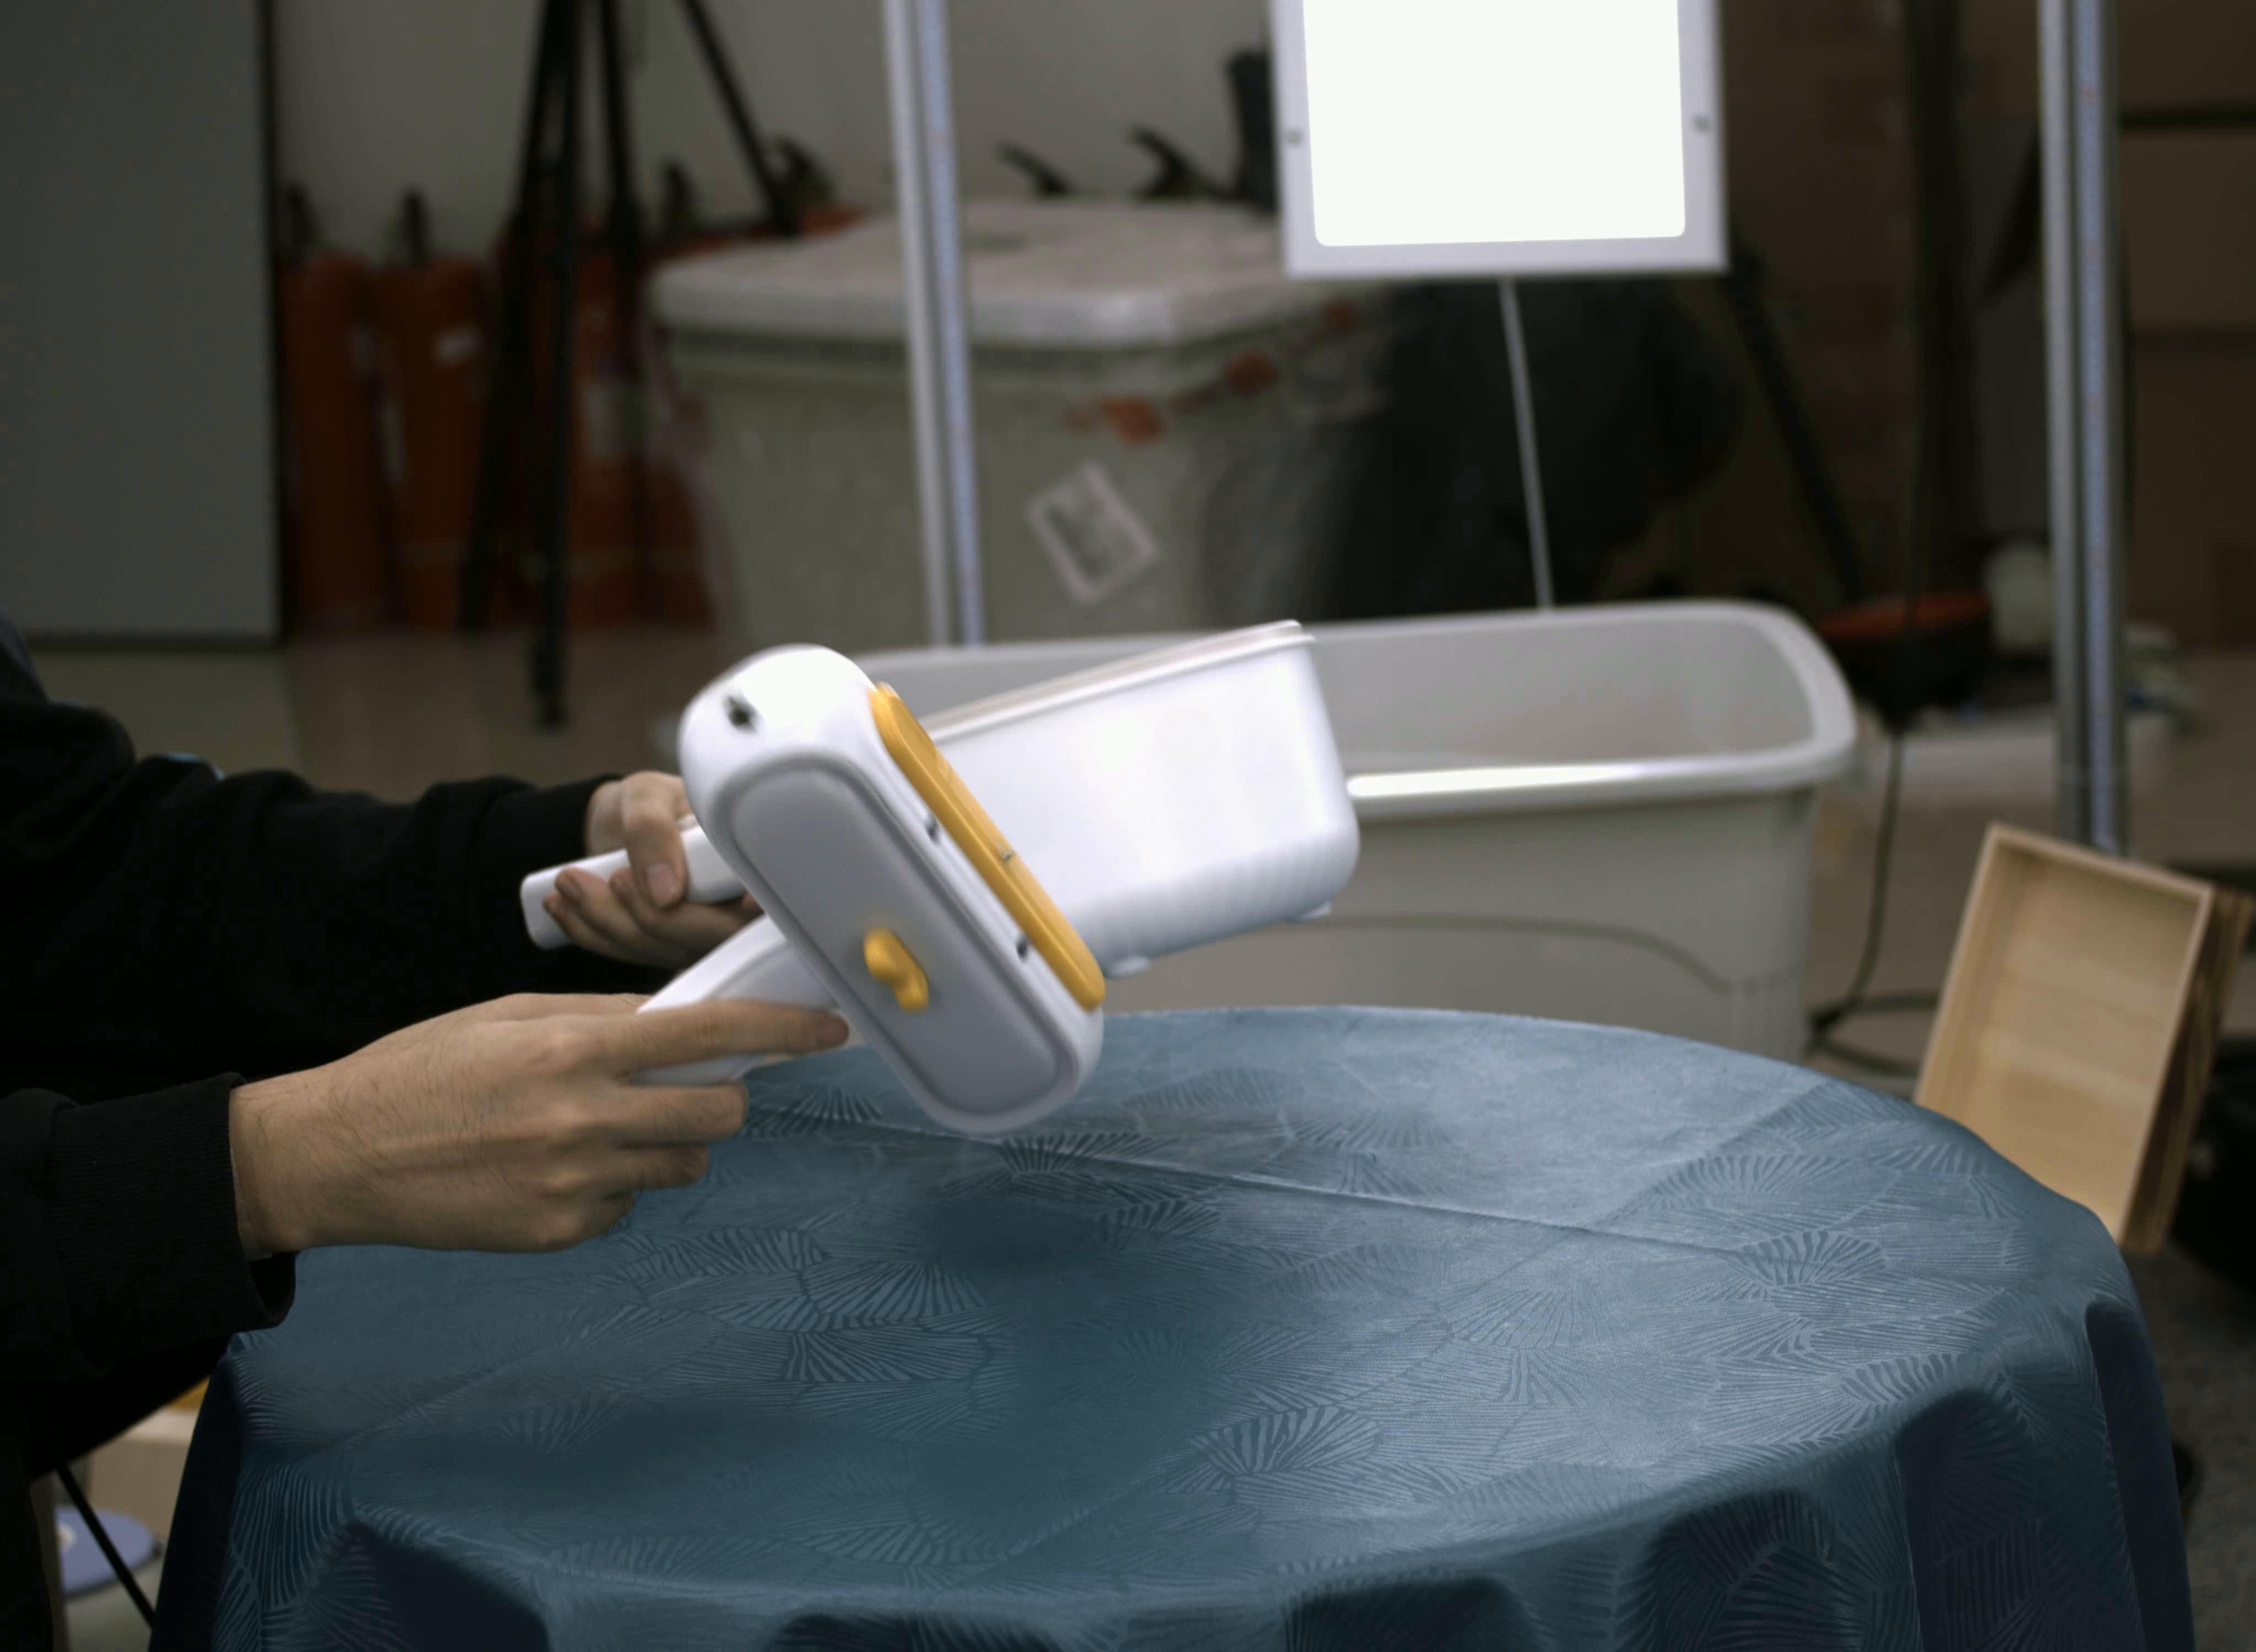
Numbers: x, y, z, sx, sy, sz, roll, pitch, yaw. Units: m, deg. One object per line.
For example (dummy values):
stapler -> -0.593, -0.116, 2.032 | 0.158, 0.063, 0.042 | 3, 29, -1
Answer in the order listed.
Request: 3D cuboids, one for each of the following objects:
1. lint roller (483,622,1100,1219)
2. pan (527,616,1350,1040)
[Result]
lint roller -> -0.124, 0.051, 1.730 | 0.194, 0.190, 0.074 | -33, 38, 13
pan -> -0.078, 0.022, 1.960 | 0.363, 0.102, 0.196 | -18, -2, 42
